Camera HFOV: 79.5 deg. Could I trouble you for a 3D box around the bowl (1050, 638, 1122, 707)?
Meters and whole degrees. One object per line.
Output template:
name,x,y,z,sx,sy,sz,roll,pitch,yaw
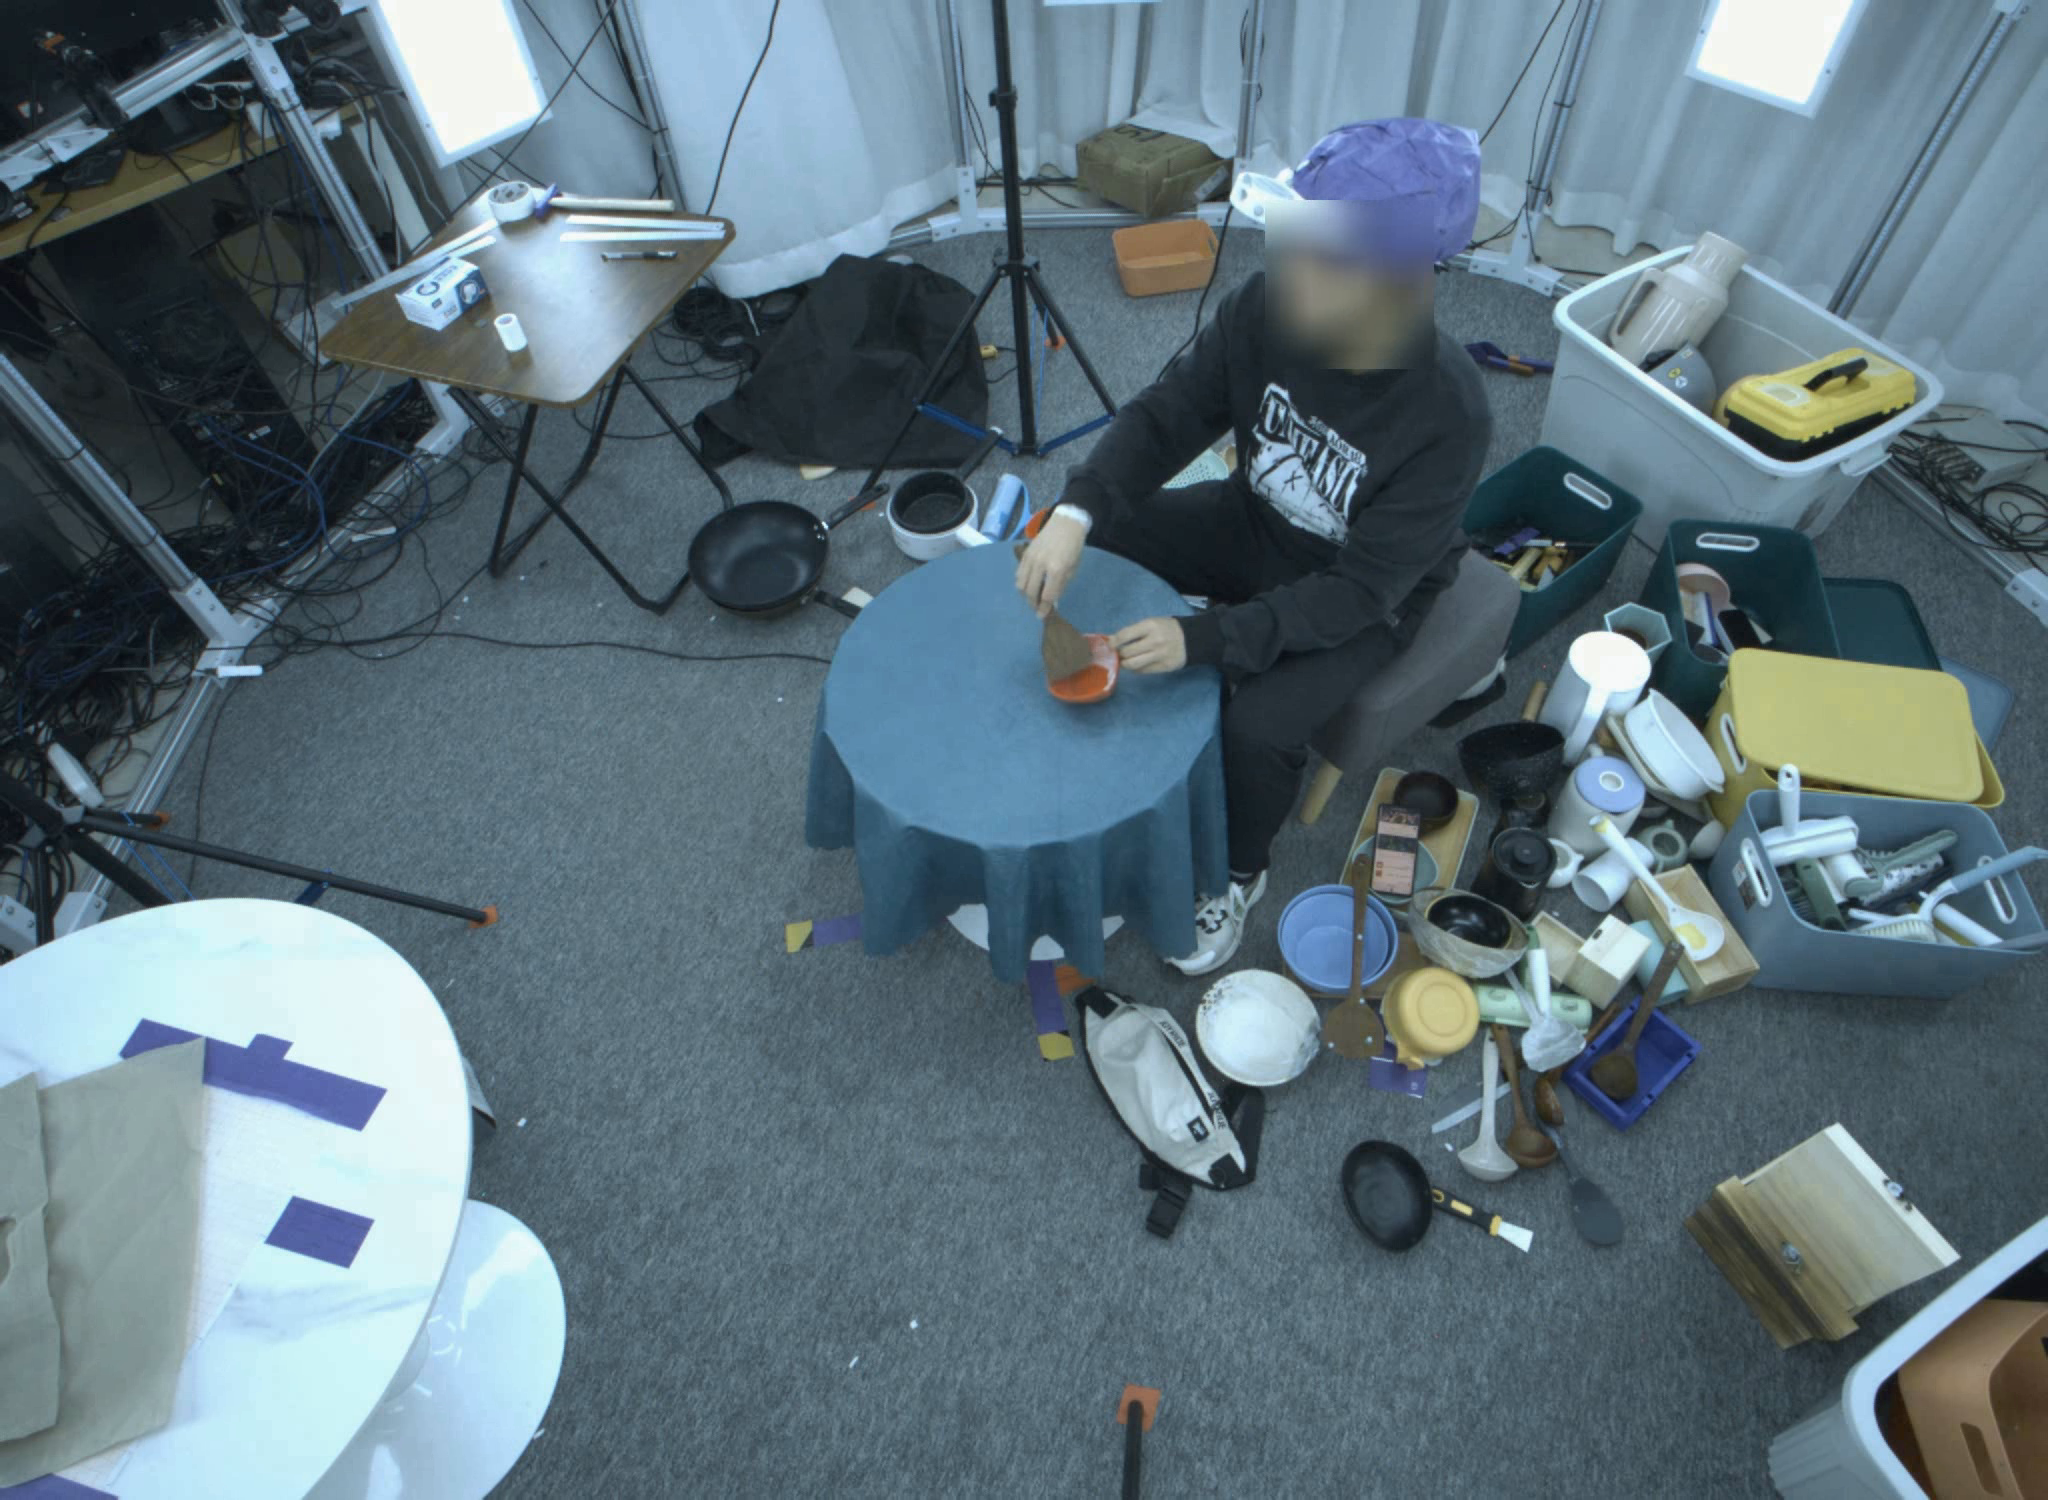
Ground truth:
bowl,0.098,-0.107,1.828,0.117,0.052,0.118,-10,59,18

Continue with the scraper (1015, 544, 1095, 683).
scraper,0.036,-0.204,1.814,0.075,0.011,0.211,-22,91,4
